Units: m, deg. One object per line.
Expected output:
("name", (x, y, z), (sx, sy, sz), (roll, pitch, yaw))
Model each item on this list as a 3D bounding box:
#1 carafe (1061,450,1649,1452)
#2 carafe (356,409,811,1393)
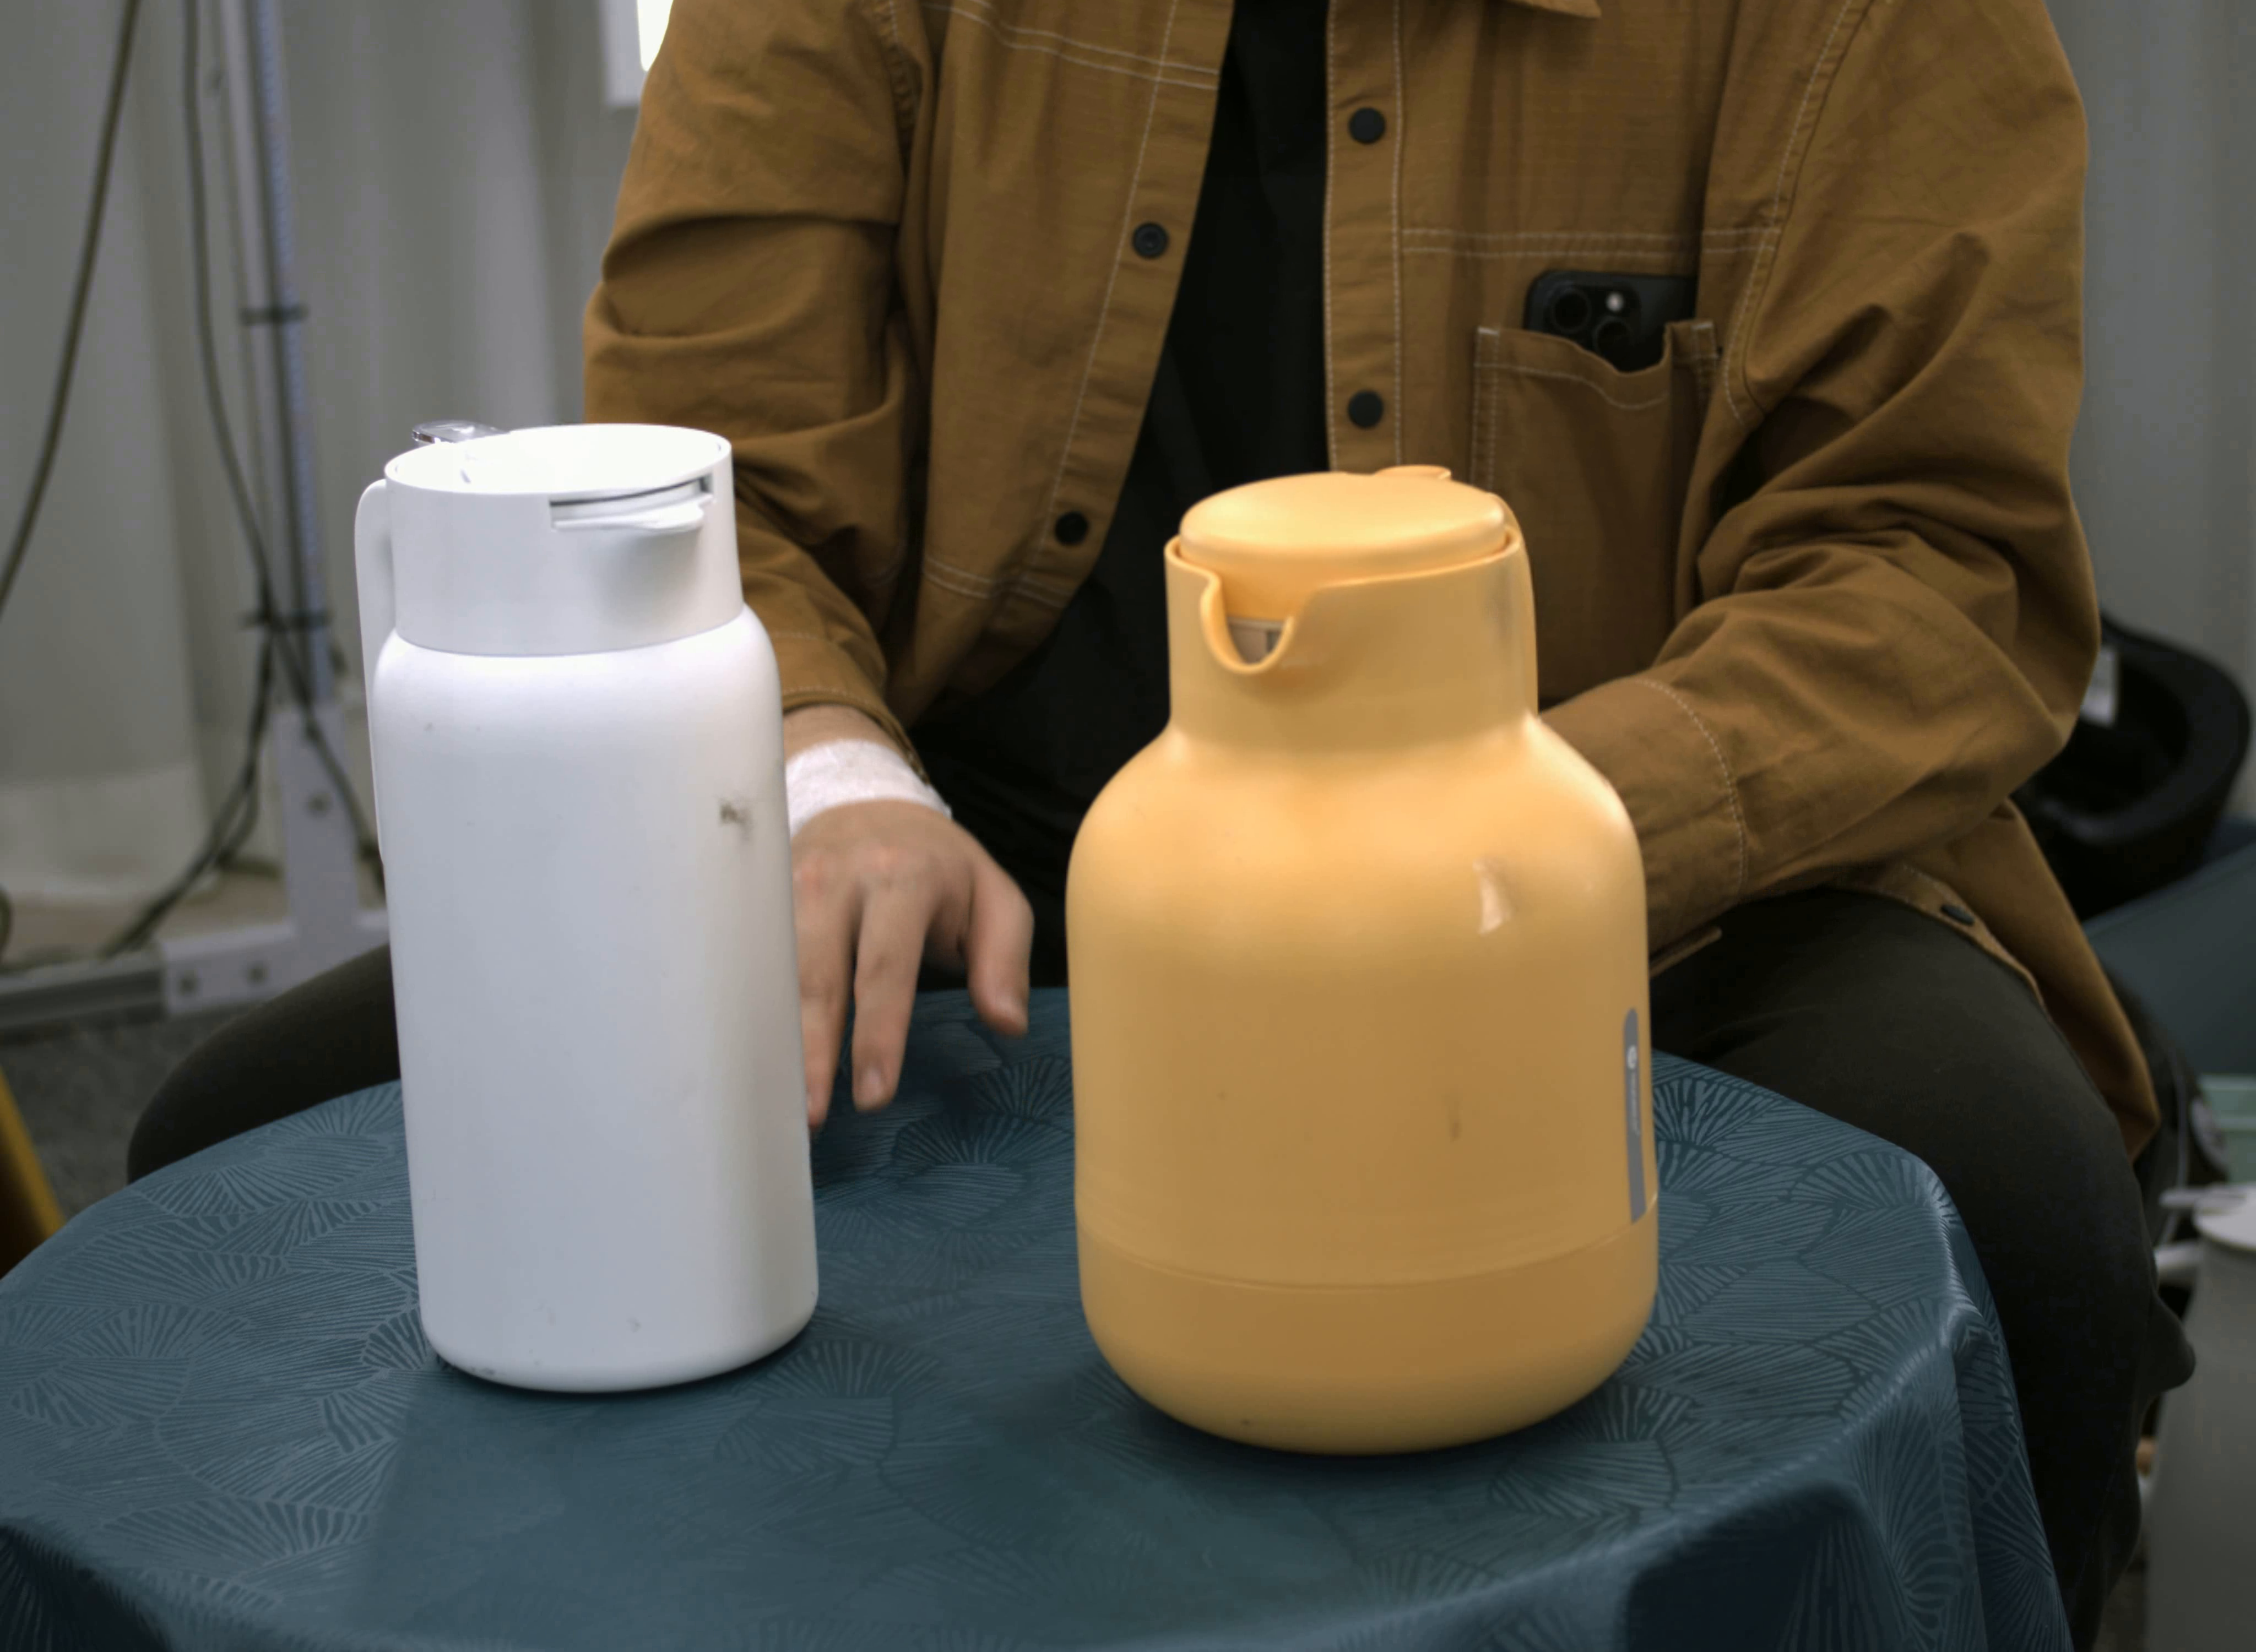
("carafe", (0.071, 0.026, 1.525), (0.164, 0.259, 0.203), (7, 18, 25))
("carafe", (-0.167, 0.018, 1.592), (0.123, 0.268, 0.174), (-14, 18, -34))
